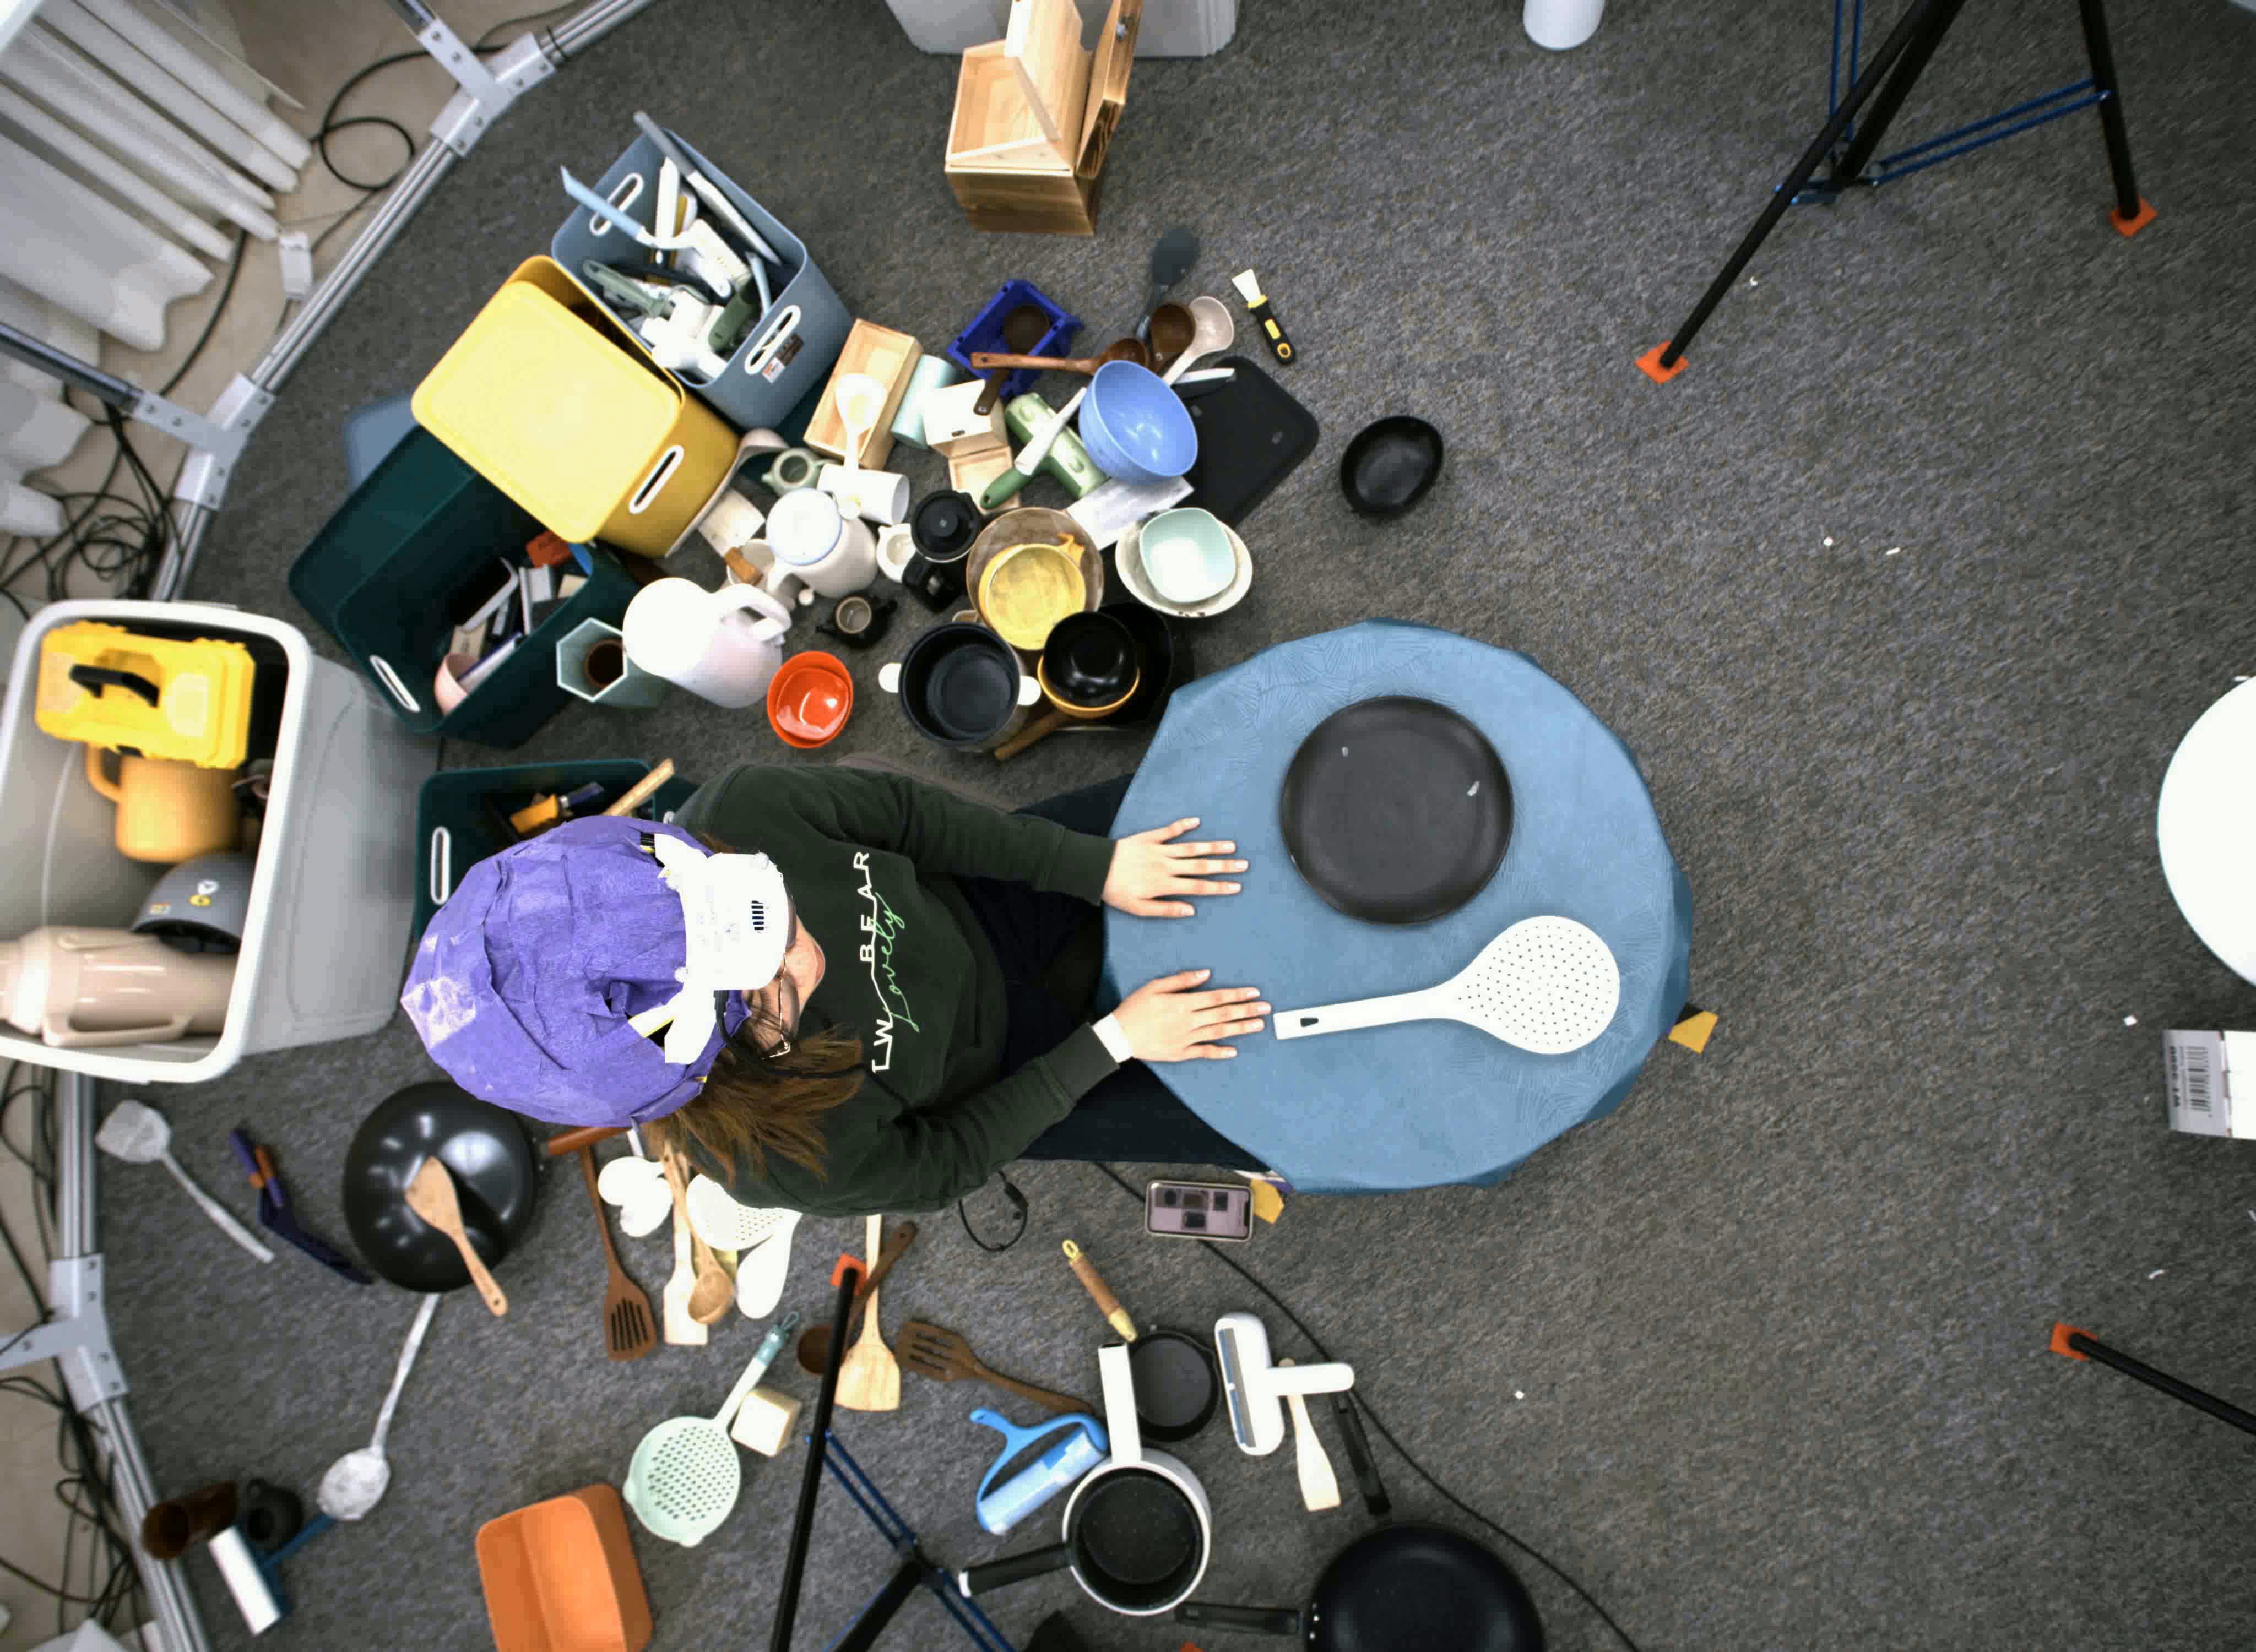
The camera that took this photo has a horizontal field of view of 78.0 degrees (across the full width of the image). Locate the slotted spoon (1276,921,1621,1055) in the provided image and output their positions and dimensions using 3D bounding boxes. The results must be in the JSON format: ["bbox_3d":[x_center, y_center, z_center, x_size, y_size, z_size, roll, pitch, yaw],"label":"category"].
[{"bbox_3d":[0.325,0.182,1.424,0.351,0.046,0.135,-10,82,10],"label":"slotted spoon"}]

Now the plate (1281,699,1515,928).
[{"bbox_3d":[0.284,-0.014,1.456,0.245,0.023,0.243,-1,86,10],"label":"plate"}]
